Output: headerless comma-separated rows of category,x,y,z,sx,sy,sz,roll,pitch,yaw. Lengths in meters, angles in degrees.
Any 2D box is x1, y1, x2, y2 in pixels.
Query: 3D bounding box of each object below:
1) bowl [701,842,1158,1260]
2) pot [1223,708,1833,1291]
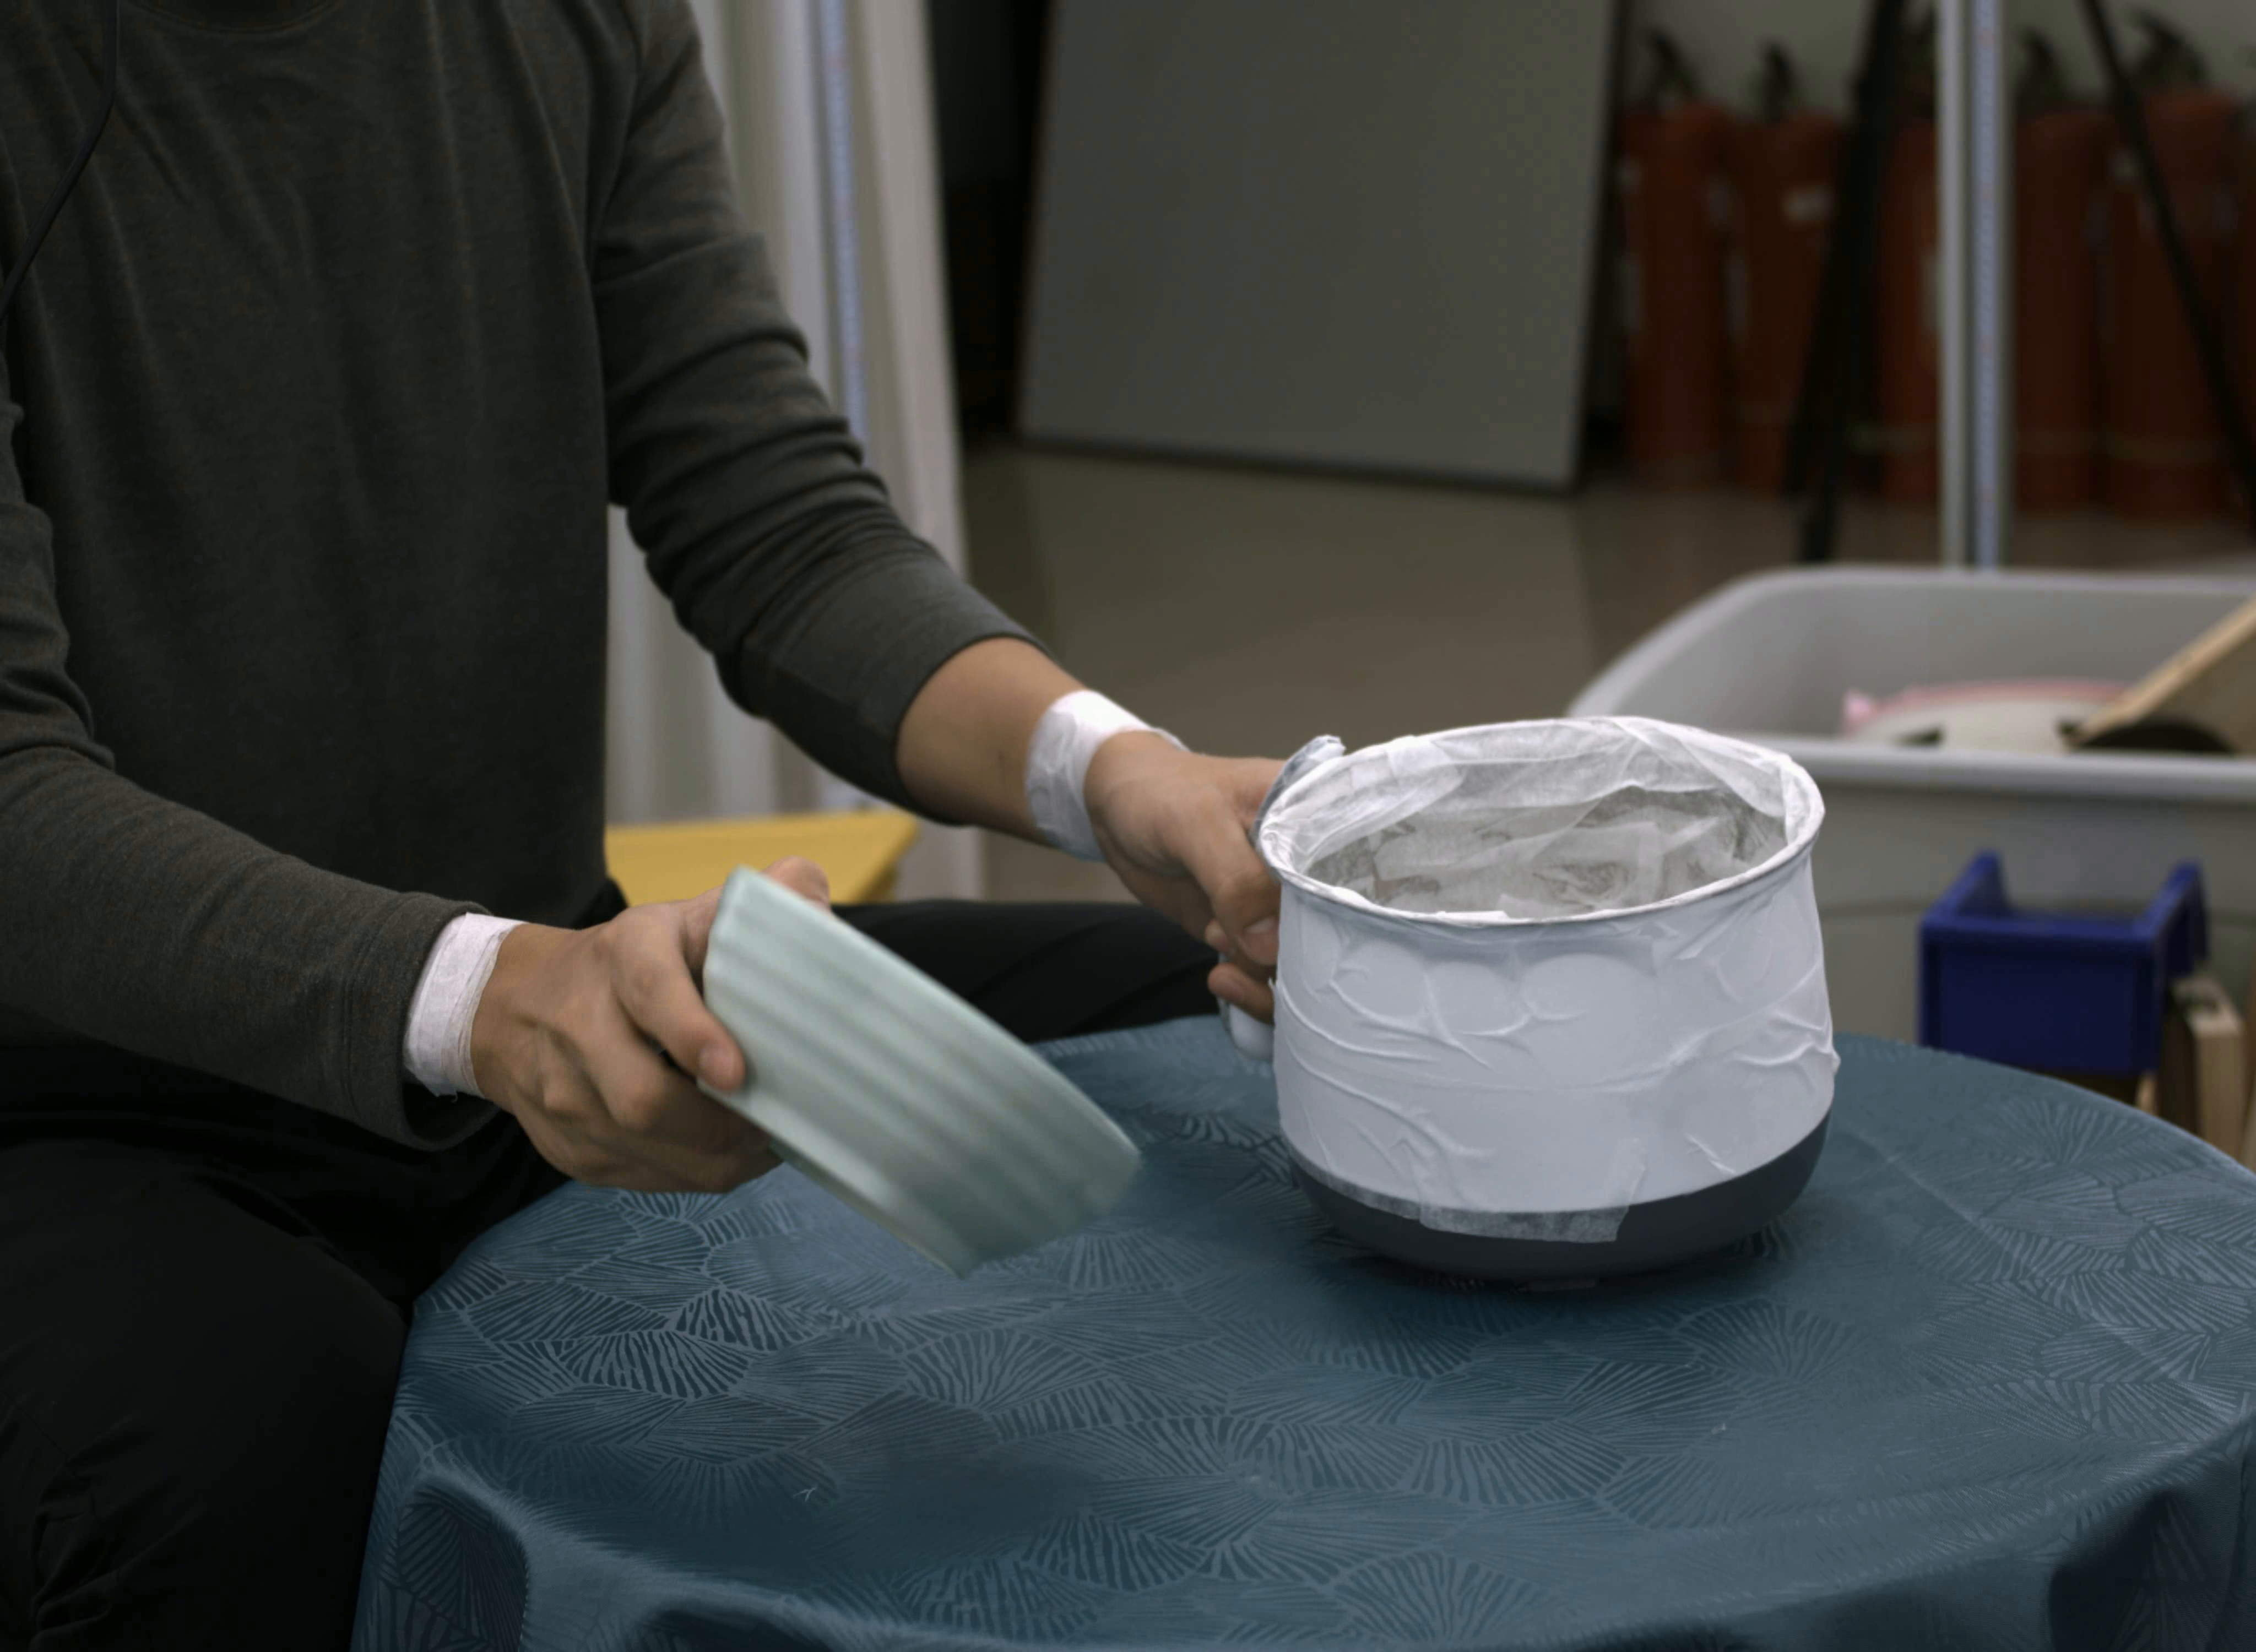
bowl,-0.066,0.072,1.519,0.151,0.059,0.151,38,0,-2
pot,0.114,0.048,1.709,0.175,0.138,0.236,-21,25,-37
